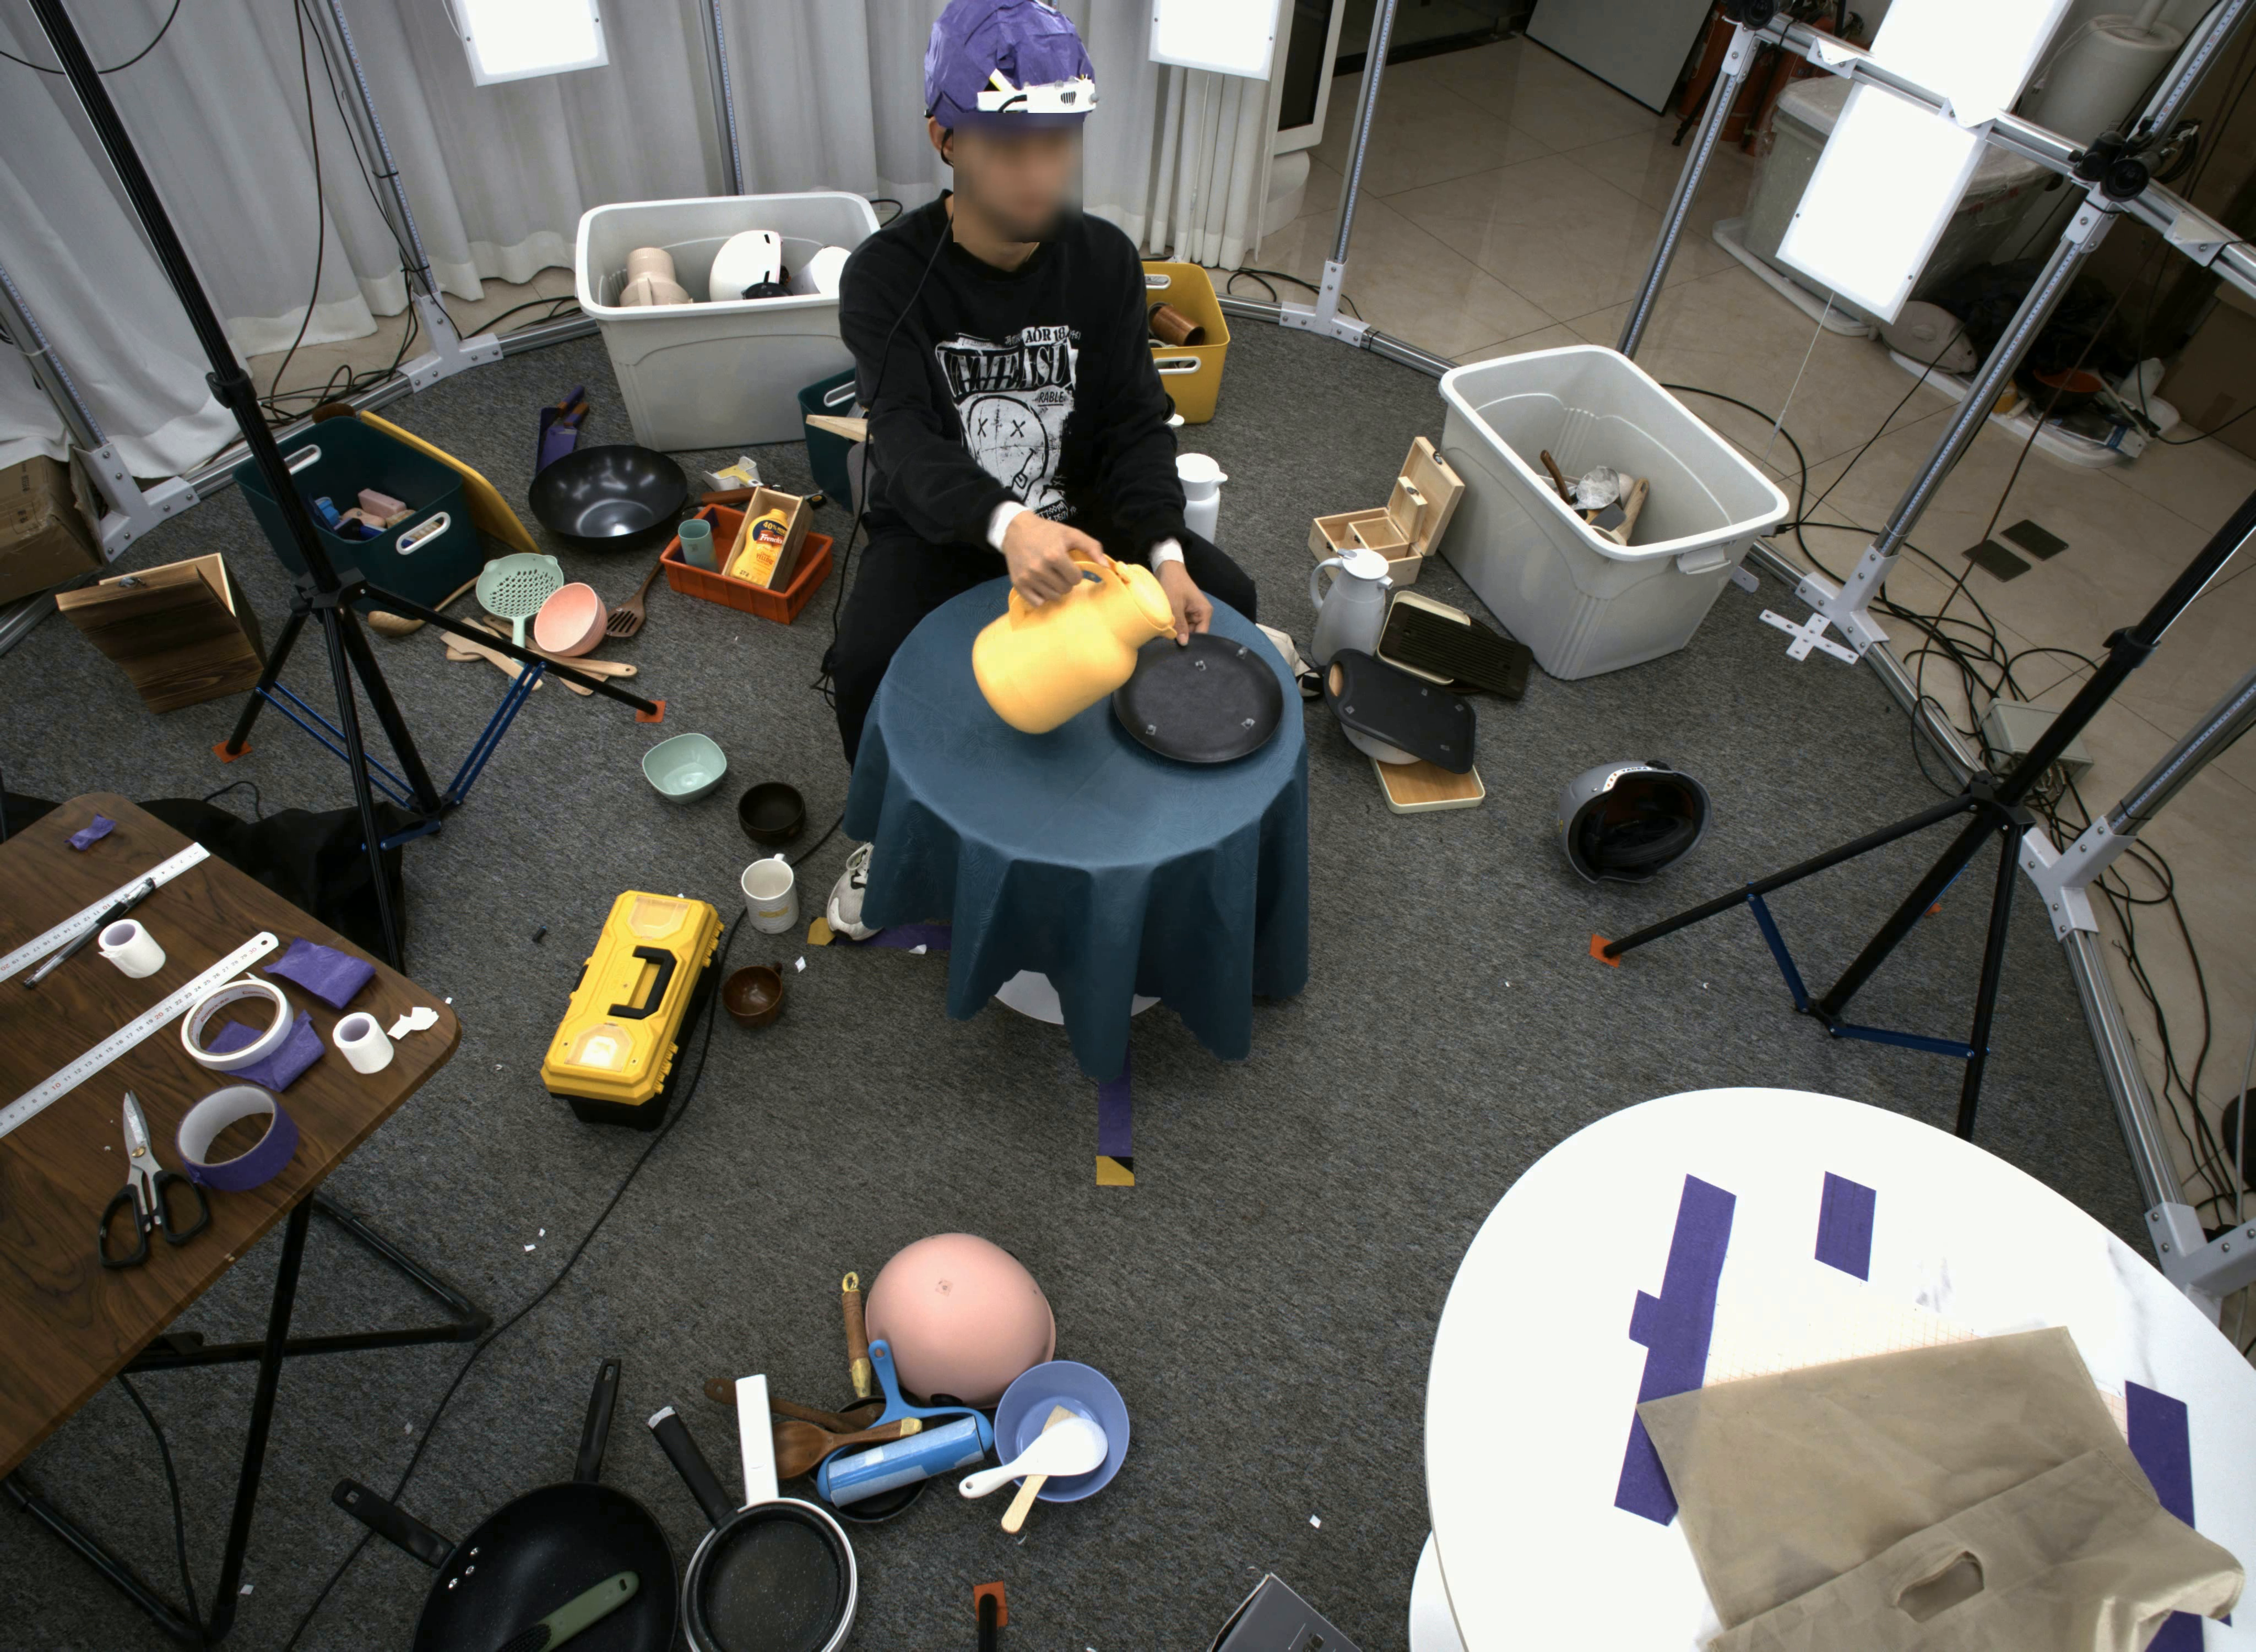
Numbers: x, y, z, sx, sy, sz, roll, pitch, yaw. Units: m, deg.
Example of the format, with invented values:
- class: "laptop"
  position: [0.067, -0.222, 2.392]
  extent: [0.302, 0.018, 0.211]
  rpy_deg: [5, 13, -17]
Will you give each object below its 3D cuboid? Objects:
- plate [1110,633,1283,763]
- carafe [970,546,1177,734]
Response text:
- class: "plate"
  position: [0.096, -0.178, 1.807]
  extent: [0.244, 0.023, 0.250]
  rpy_deg: [1, 52, -2]
- class: "carafe"
  position: [-0.079, -0.250, 1.661]
  extent: [0.259, 0.198, 0.167]
  rpy_deg: [-29, 42, 21]
